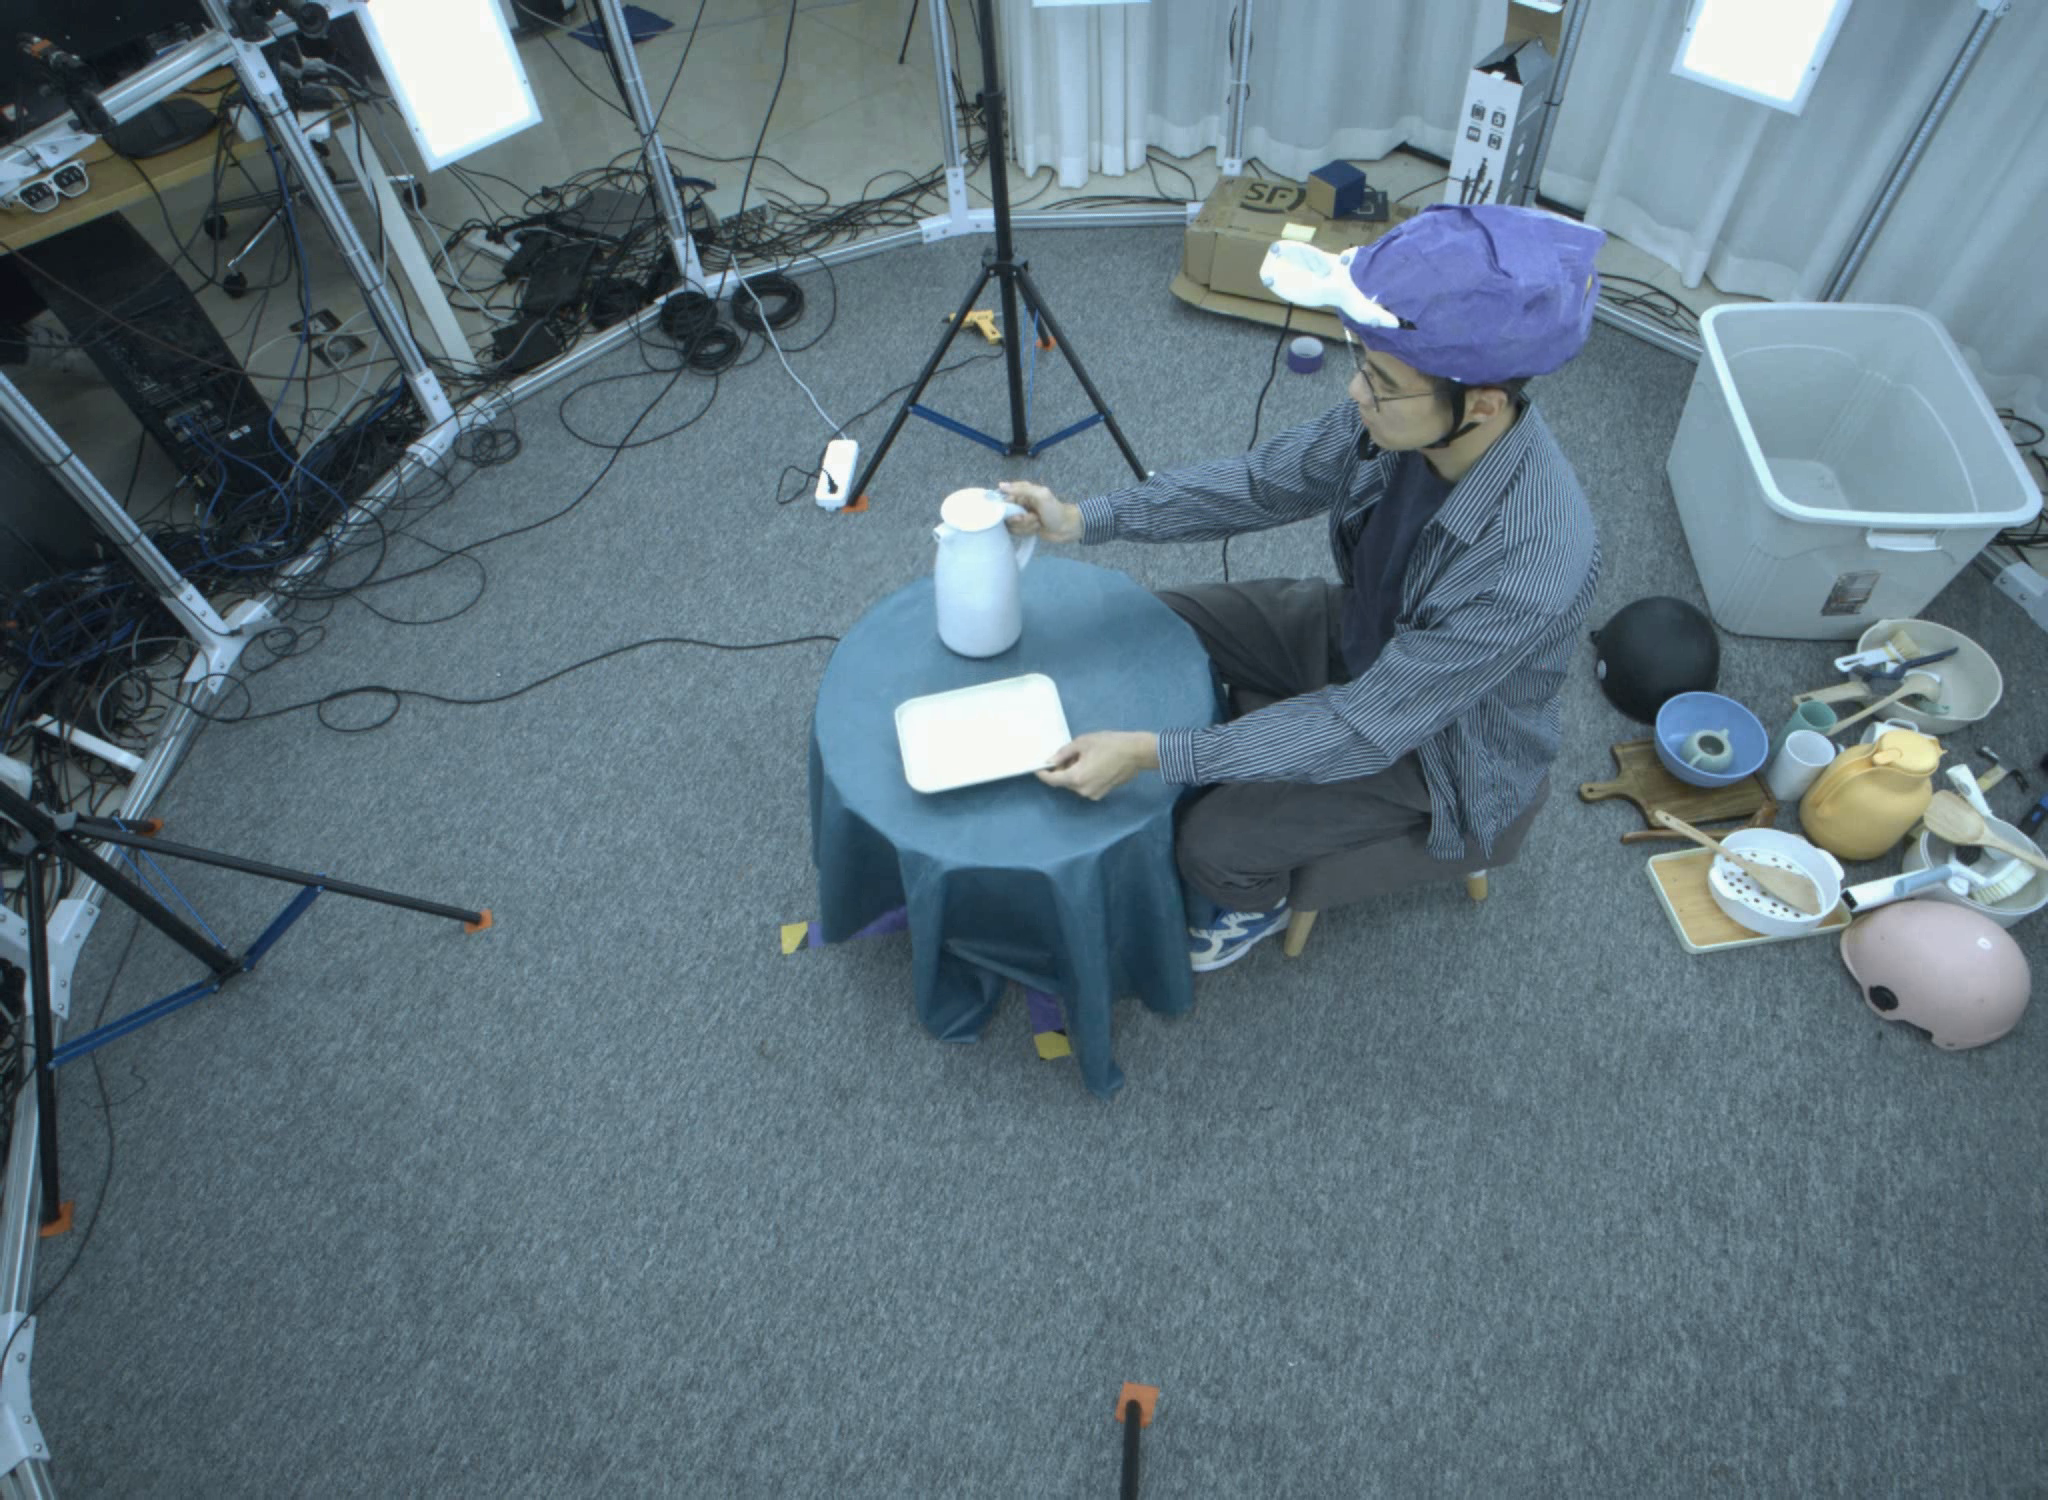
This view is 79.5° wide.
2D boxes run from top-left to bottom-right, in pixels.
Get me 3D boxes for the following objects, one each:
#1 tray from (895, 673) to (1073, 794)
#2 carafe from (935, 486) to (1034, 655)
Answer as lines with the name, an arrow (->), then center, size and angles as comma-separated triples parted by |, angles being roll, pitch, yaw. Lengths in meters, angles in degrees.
tray -> -0.059, -0.024, 1.765 | 0.241, 0.017, 0.168 | -12, 56, -6
carafe -> -0.057, -0.282, 1.834 | 0.169, 0.251, 0.130 | -33, 58, -24
